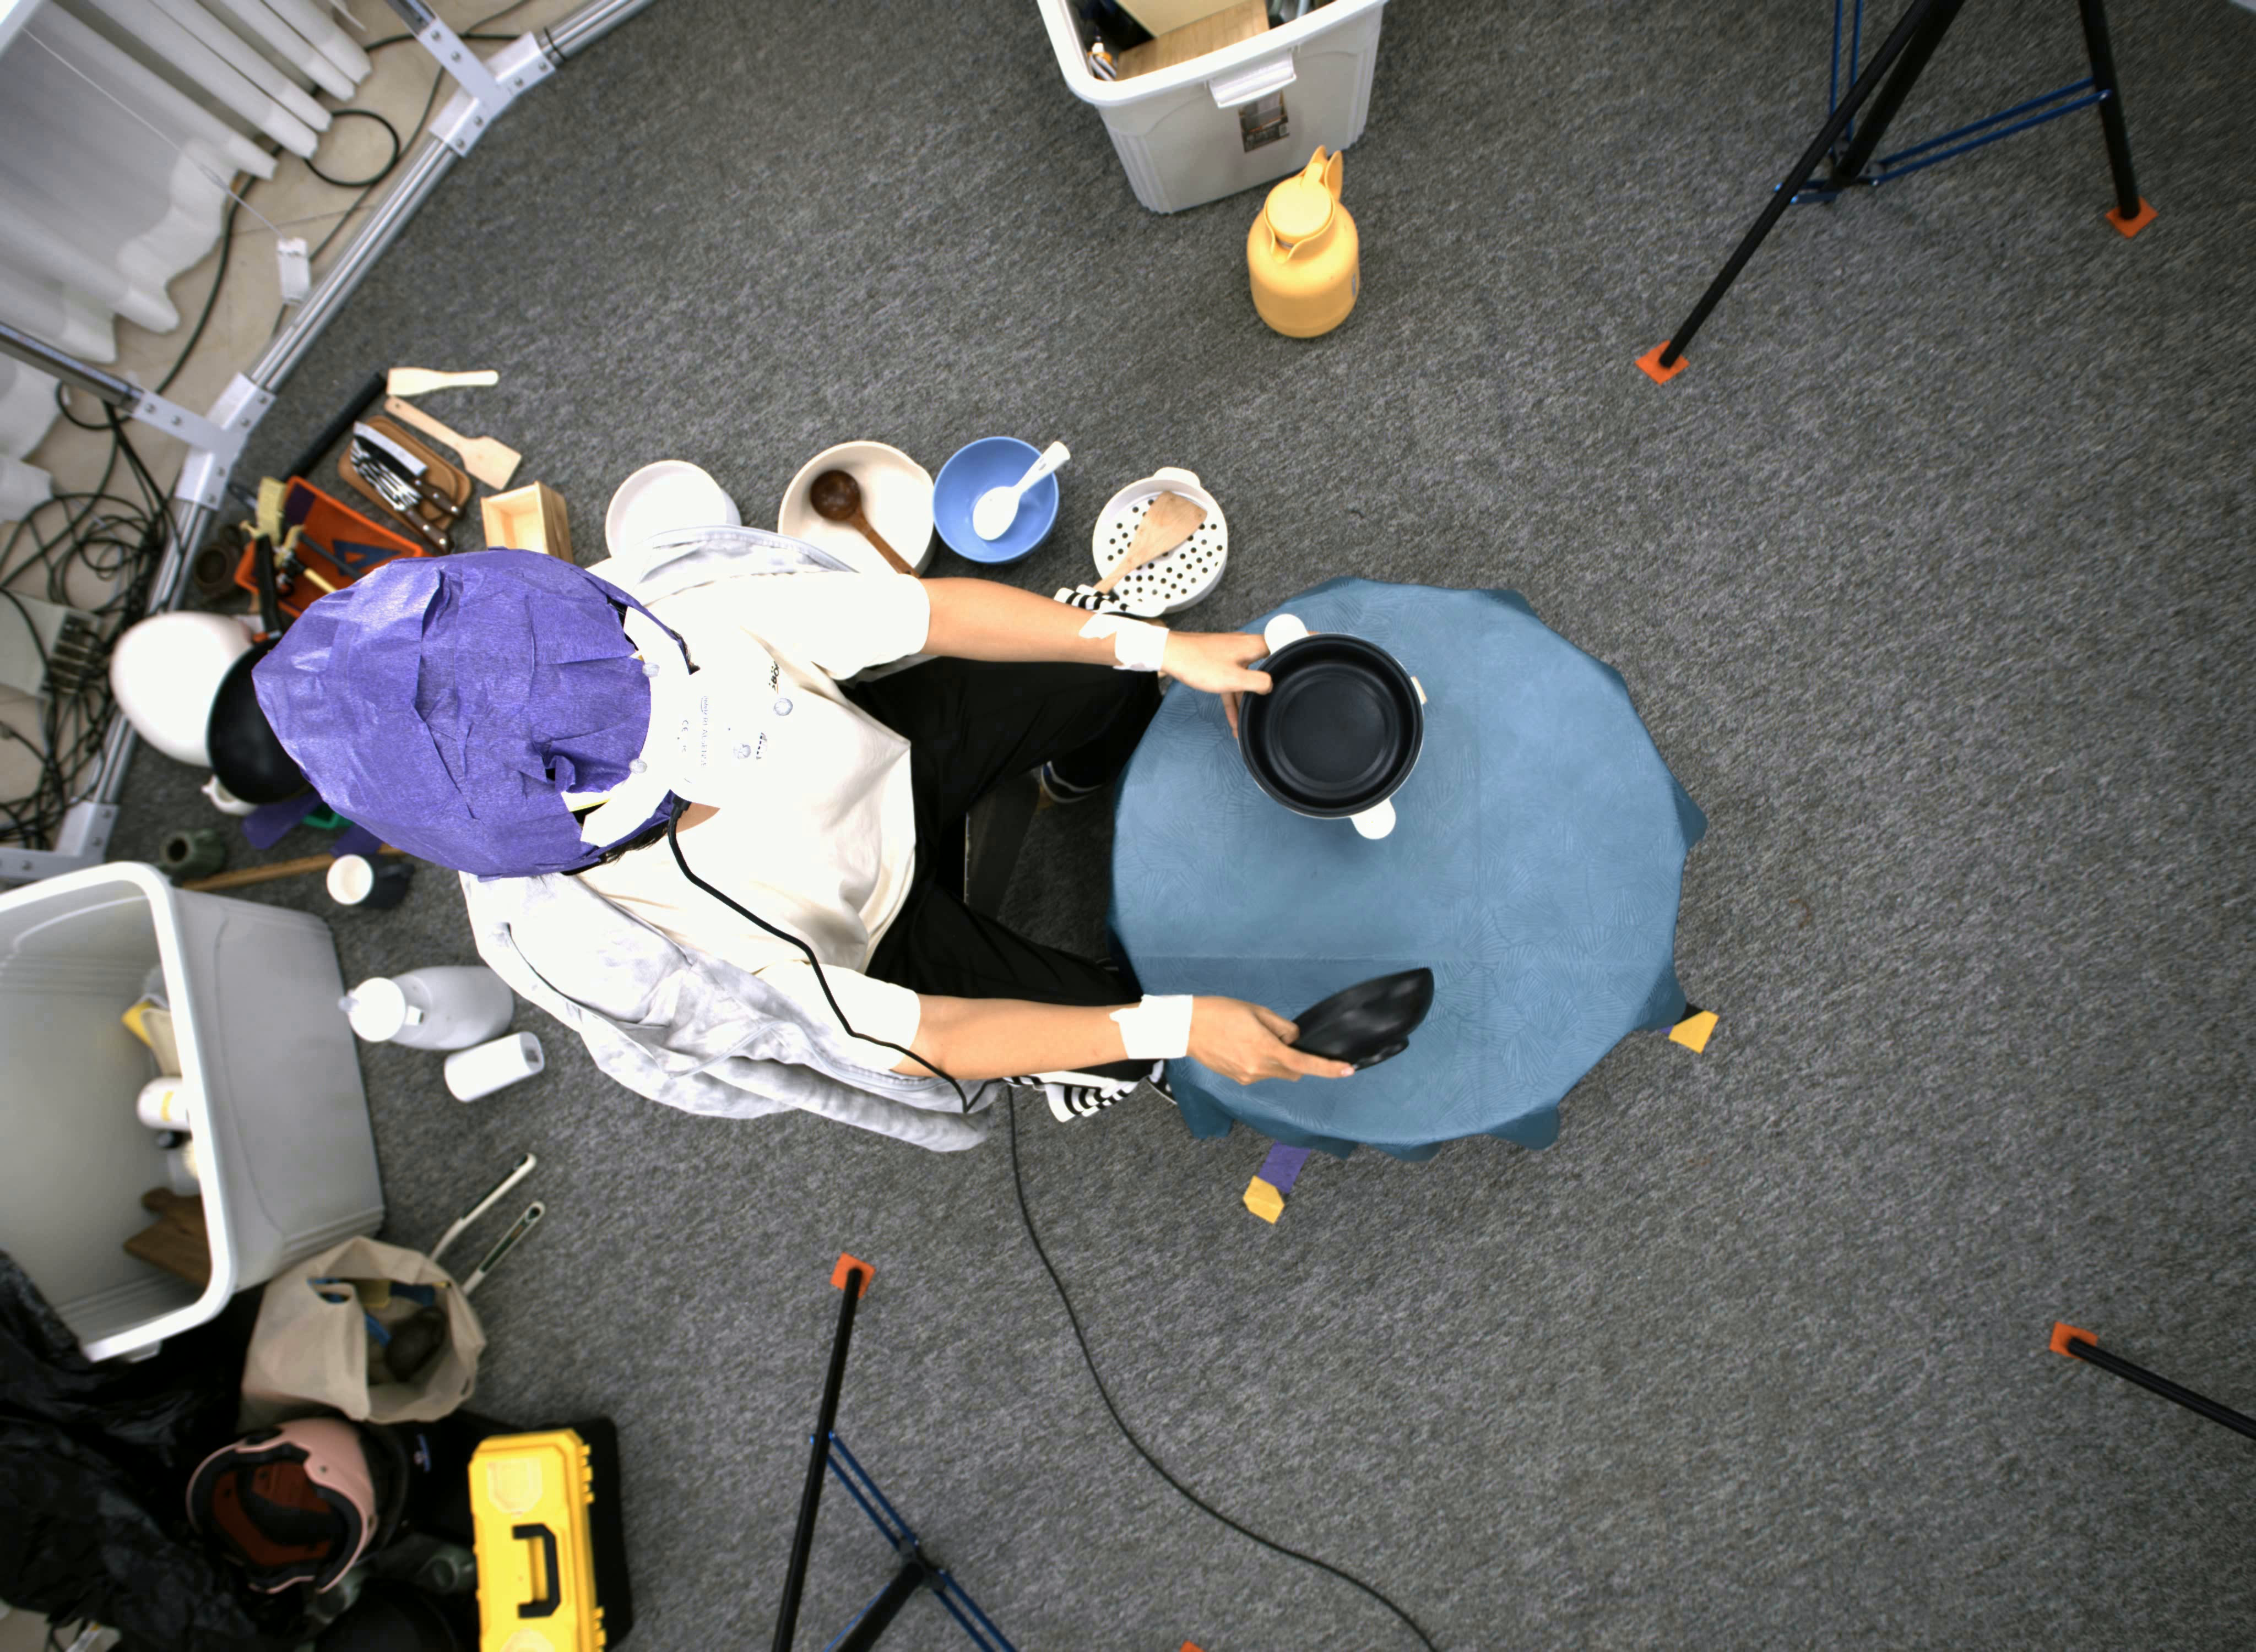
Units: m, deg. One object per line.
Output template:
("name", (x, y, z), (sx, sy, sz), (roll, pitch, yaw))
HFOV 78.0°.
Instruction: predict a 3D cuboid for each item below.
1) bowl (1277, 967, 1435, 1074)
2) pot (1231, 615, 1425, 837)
("bowl", (0.225, 0.190, 1.314), (0.169, 0.139, 0.066), (-23, 84, -18))
("pot", (0.210, -0.104, 1.402), (0.192, 0.141, 0.240), (-27, 89, 14))
